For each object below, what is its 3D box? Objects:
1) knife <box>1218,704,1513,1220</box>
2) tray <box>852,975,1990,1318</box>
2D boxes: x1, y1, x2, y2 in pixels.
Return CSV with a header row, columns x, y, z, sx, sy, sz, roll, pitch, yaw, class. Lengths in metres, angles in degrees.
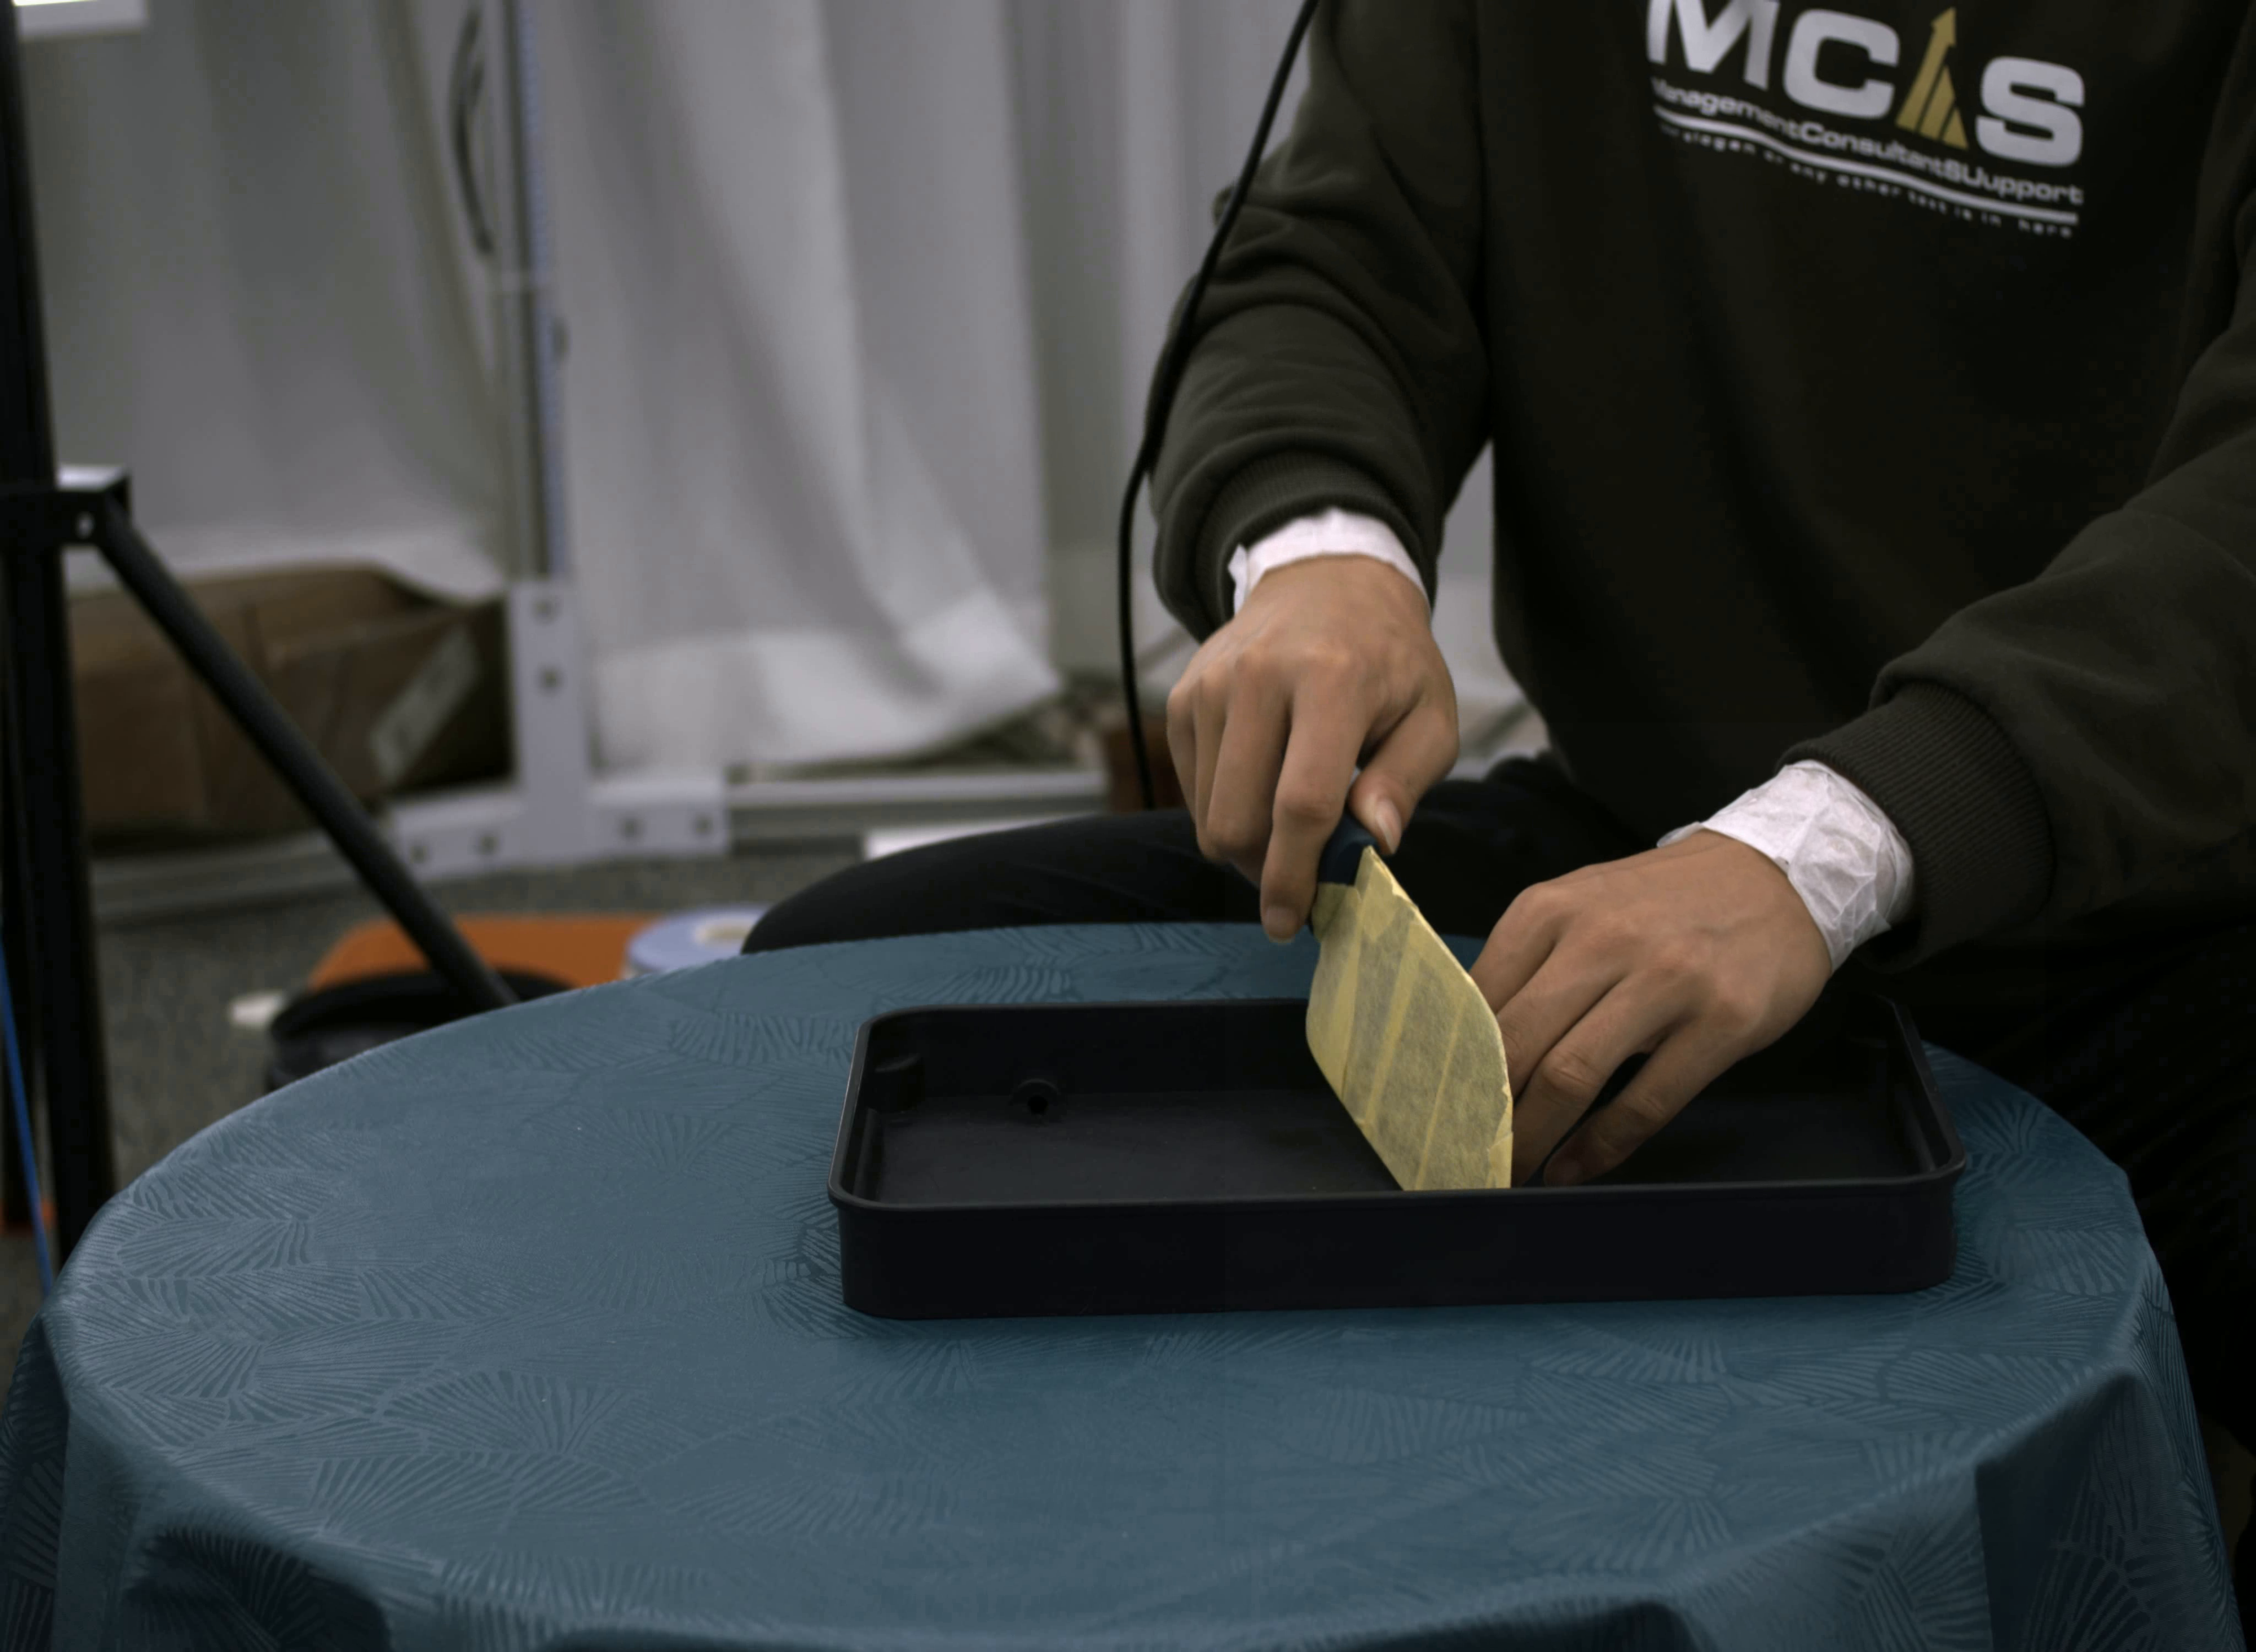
x,y,z,sx,sy,sz,roll,pitch,yaw,class
0.069,0.040,1.584,0.027,0.081,0.294,10,24,-19,knife
0.081,0.091,1.540,0.317,0.037,0.185,-2,16,1,tray
